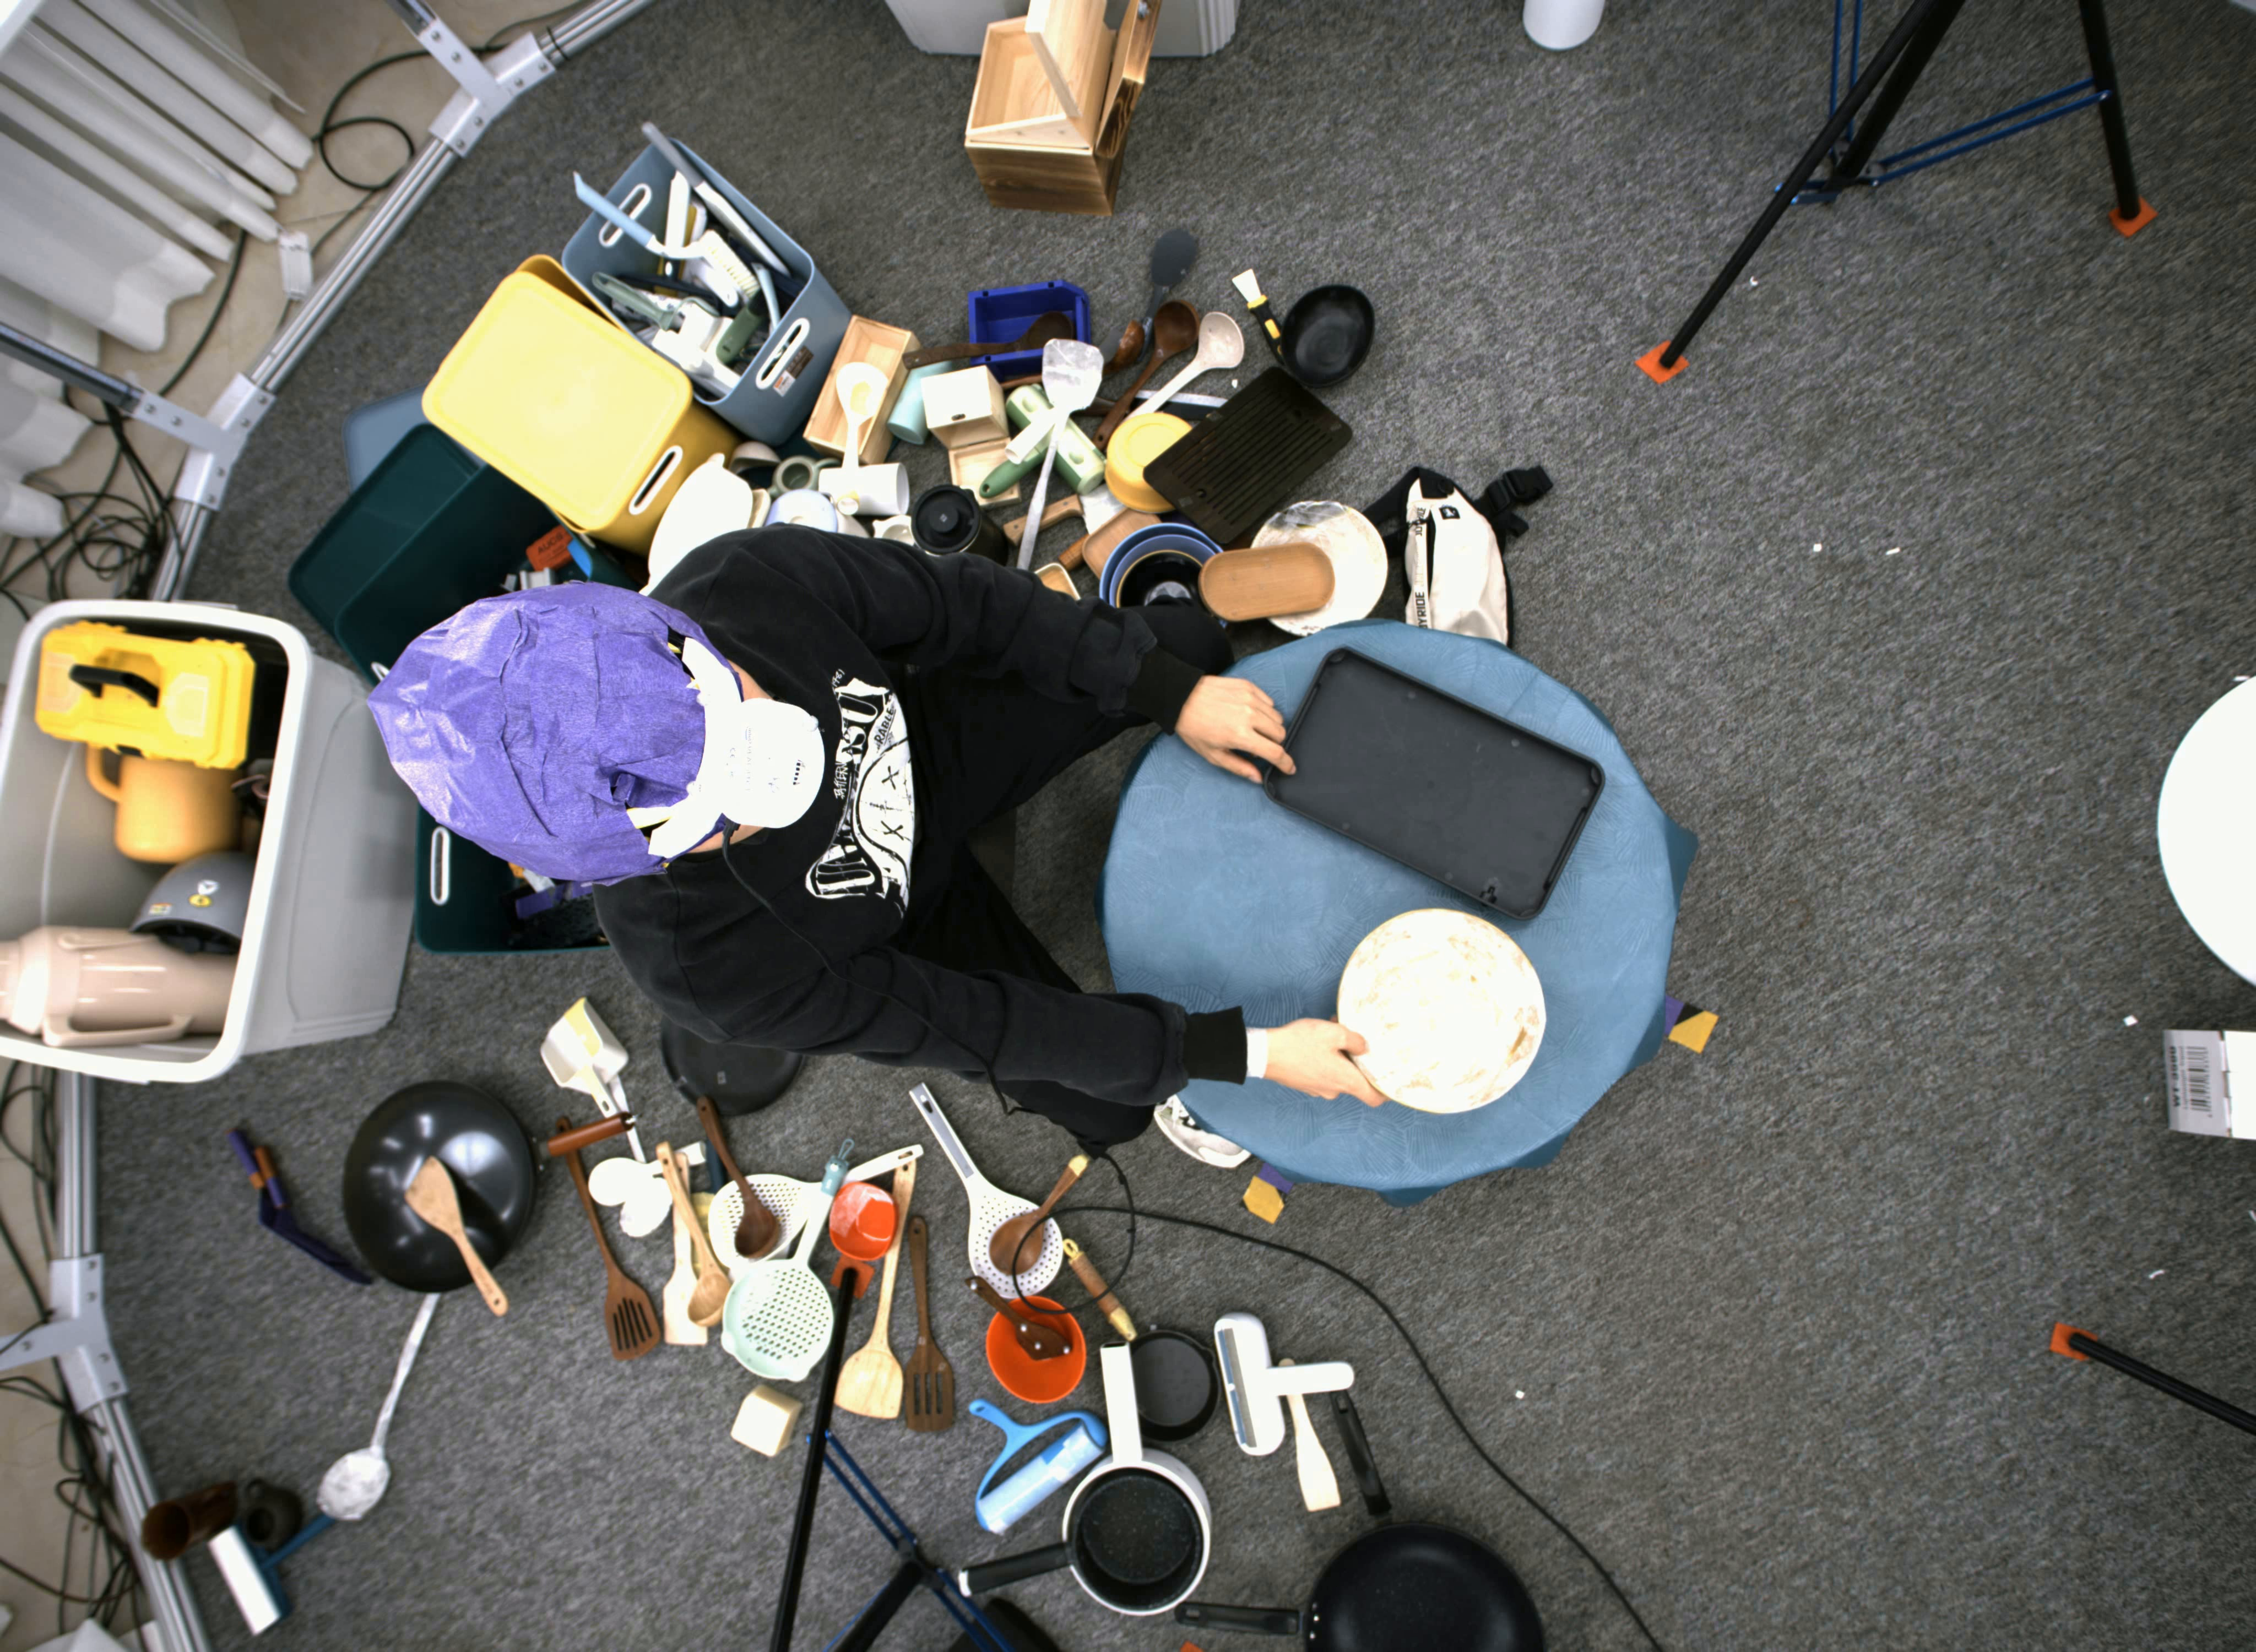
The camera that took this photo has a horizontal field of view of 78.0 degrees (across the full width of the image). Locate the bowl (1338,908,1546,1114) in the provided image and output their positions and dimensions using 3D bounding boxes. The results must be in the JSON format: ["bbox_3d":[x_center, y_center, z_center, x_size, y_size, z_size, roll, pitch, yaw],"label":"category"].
[{"bbox_3d":[0.314,0.183,1.402,0.215,0.094,0.213,-1,85,11],"label":"bowl"}]

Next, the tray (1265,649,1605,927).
[{"bbox_3d":[0.320,-0.043,1.448,0.317,0.037,0.184,28,90,9],"label":"tray"}]
